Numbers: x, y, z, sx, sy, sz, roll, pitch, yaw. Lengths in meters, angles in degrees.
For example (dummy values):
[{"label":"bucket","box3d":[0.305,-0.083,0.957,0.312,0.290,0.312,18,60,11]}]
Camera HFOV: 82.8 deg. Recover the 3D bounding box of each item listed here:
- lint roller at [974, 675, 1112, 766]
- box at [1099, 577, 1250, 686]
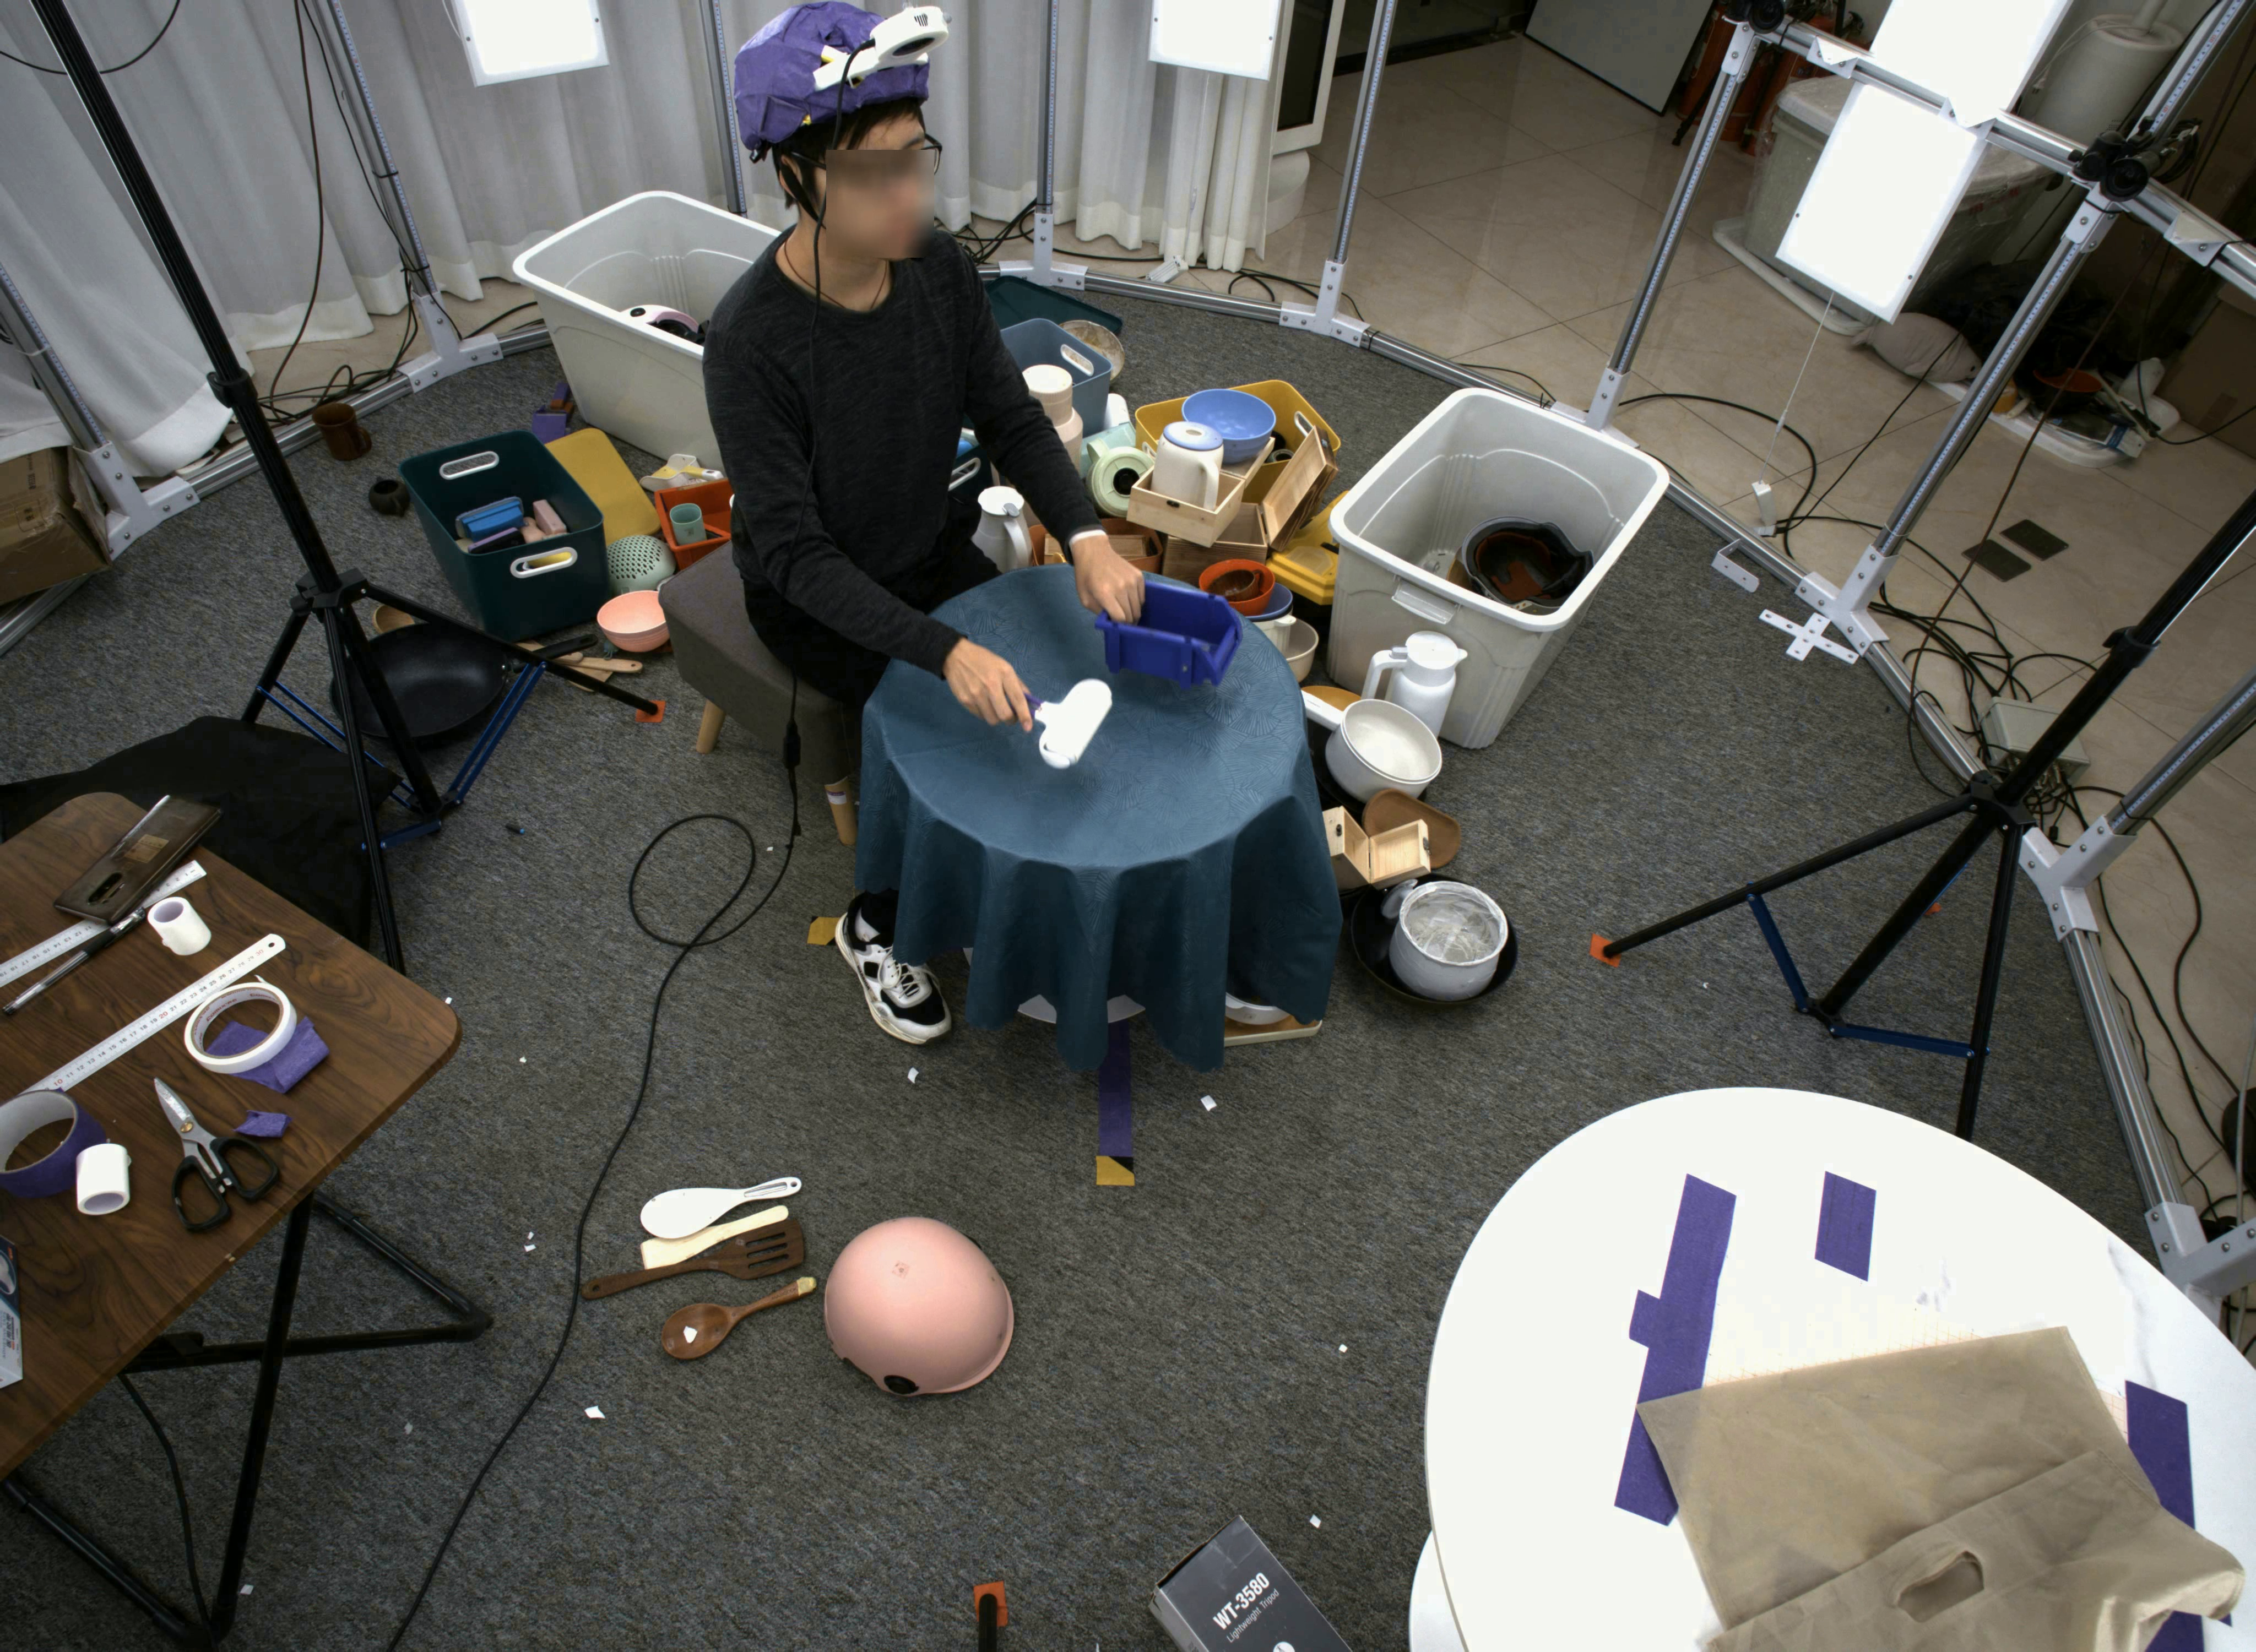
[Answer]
[{"label":"lint roller","box3d":[-0.121,-0.163,1.670,0.182,0.049,0.135,25,66,13]},{"label":"box","box3d":[0.068,-0.270,1.785,0.180,0.080,0.127,13,43,19]}]
